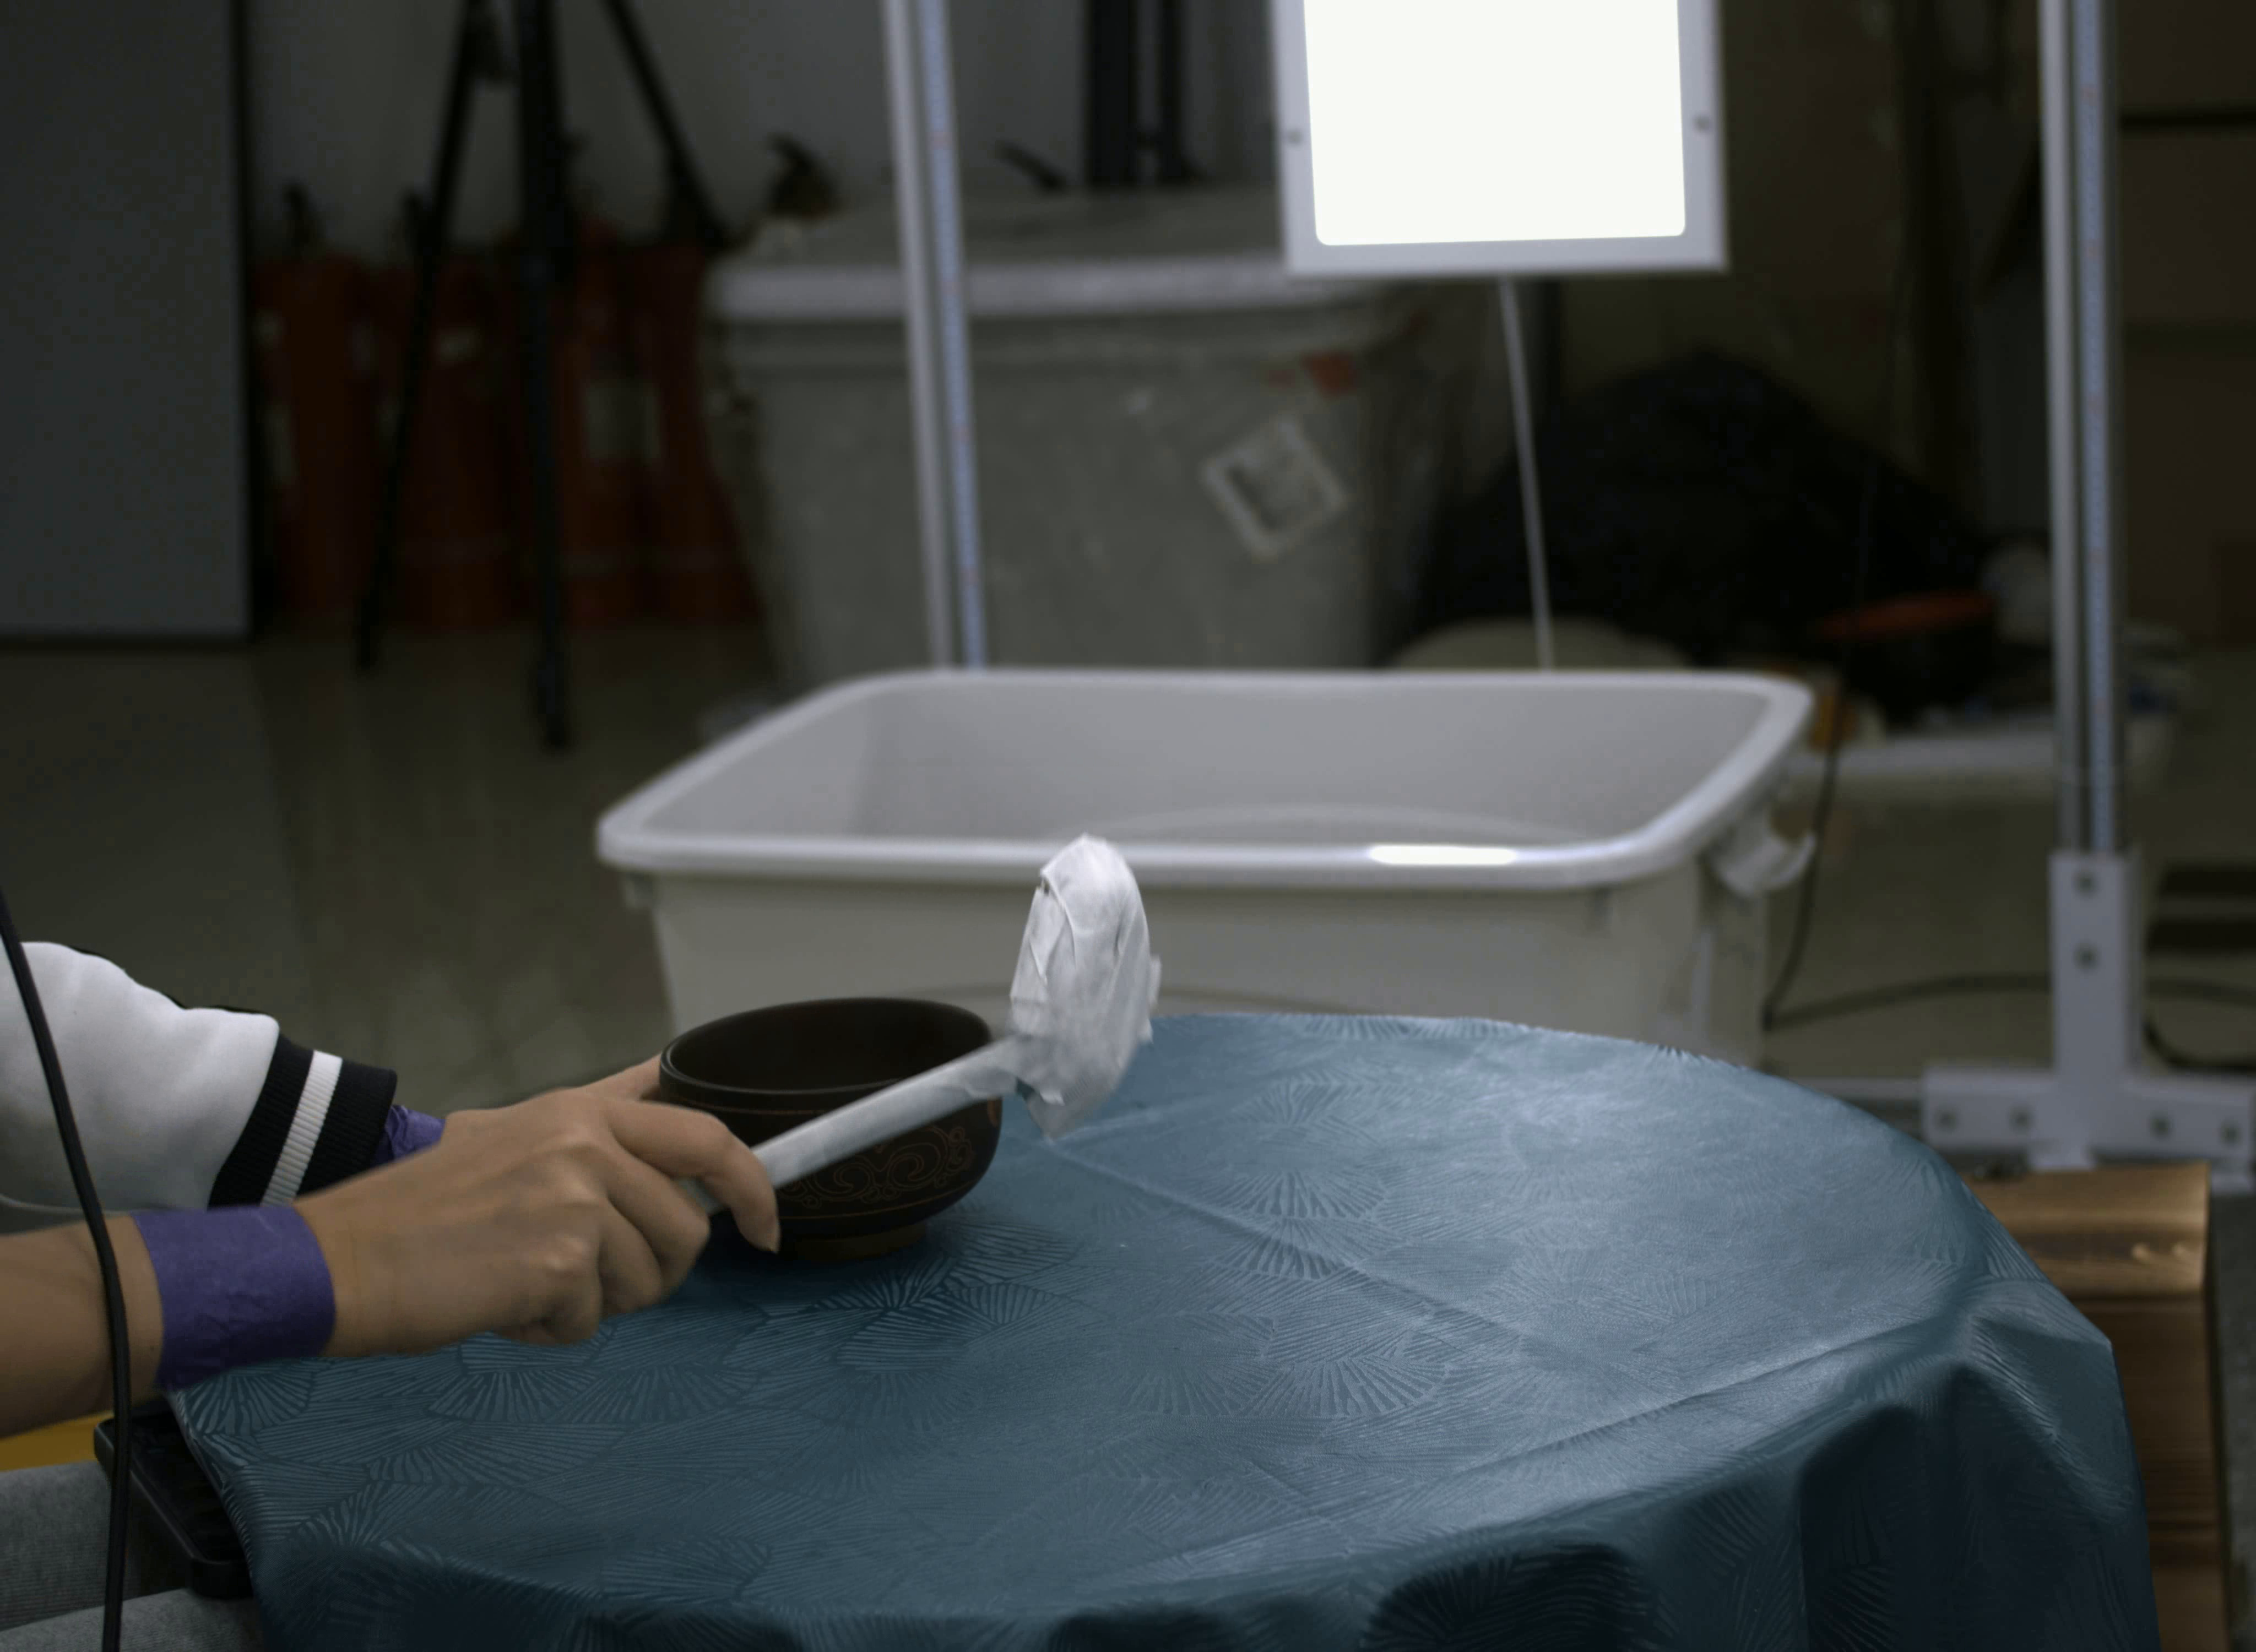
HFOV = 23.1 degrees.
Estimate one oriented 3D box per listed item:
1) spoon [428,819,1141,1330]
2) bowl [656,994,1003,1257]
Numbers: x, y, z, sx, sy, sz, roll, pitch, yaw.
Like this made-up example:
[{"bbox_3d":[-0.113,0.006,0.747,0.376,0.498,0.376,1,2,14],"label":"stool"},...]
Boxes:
[{"bbox_3d":[-0.101,0.085,1.670,0.272,0.101,0.060,-24,31,-23],"label":"spoon"},{"bbox_3d":[-0.100,0.105,1.870,0.118,0.070,0.118,-5,13,0],"label":"bowl"}]
